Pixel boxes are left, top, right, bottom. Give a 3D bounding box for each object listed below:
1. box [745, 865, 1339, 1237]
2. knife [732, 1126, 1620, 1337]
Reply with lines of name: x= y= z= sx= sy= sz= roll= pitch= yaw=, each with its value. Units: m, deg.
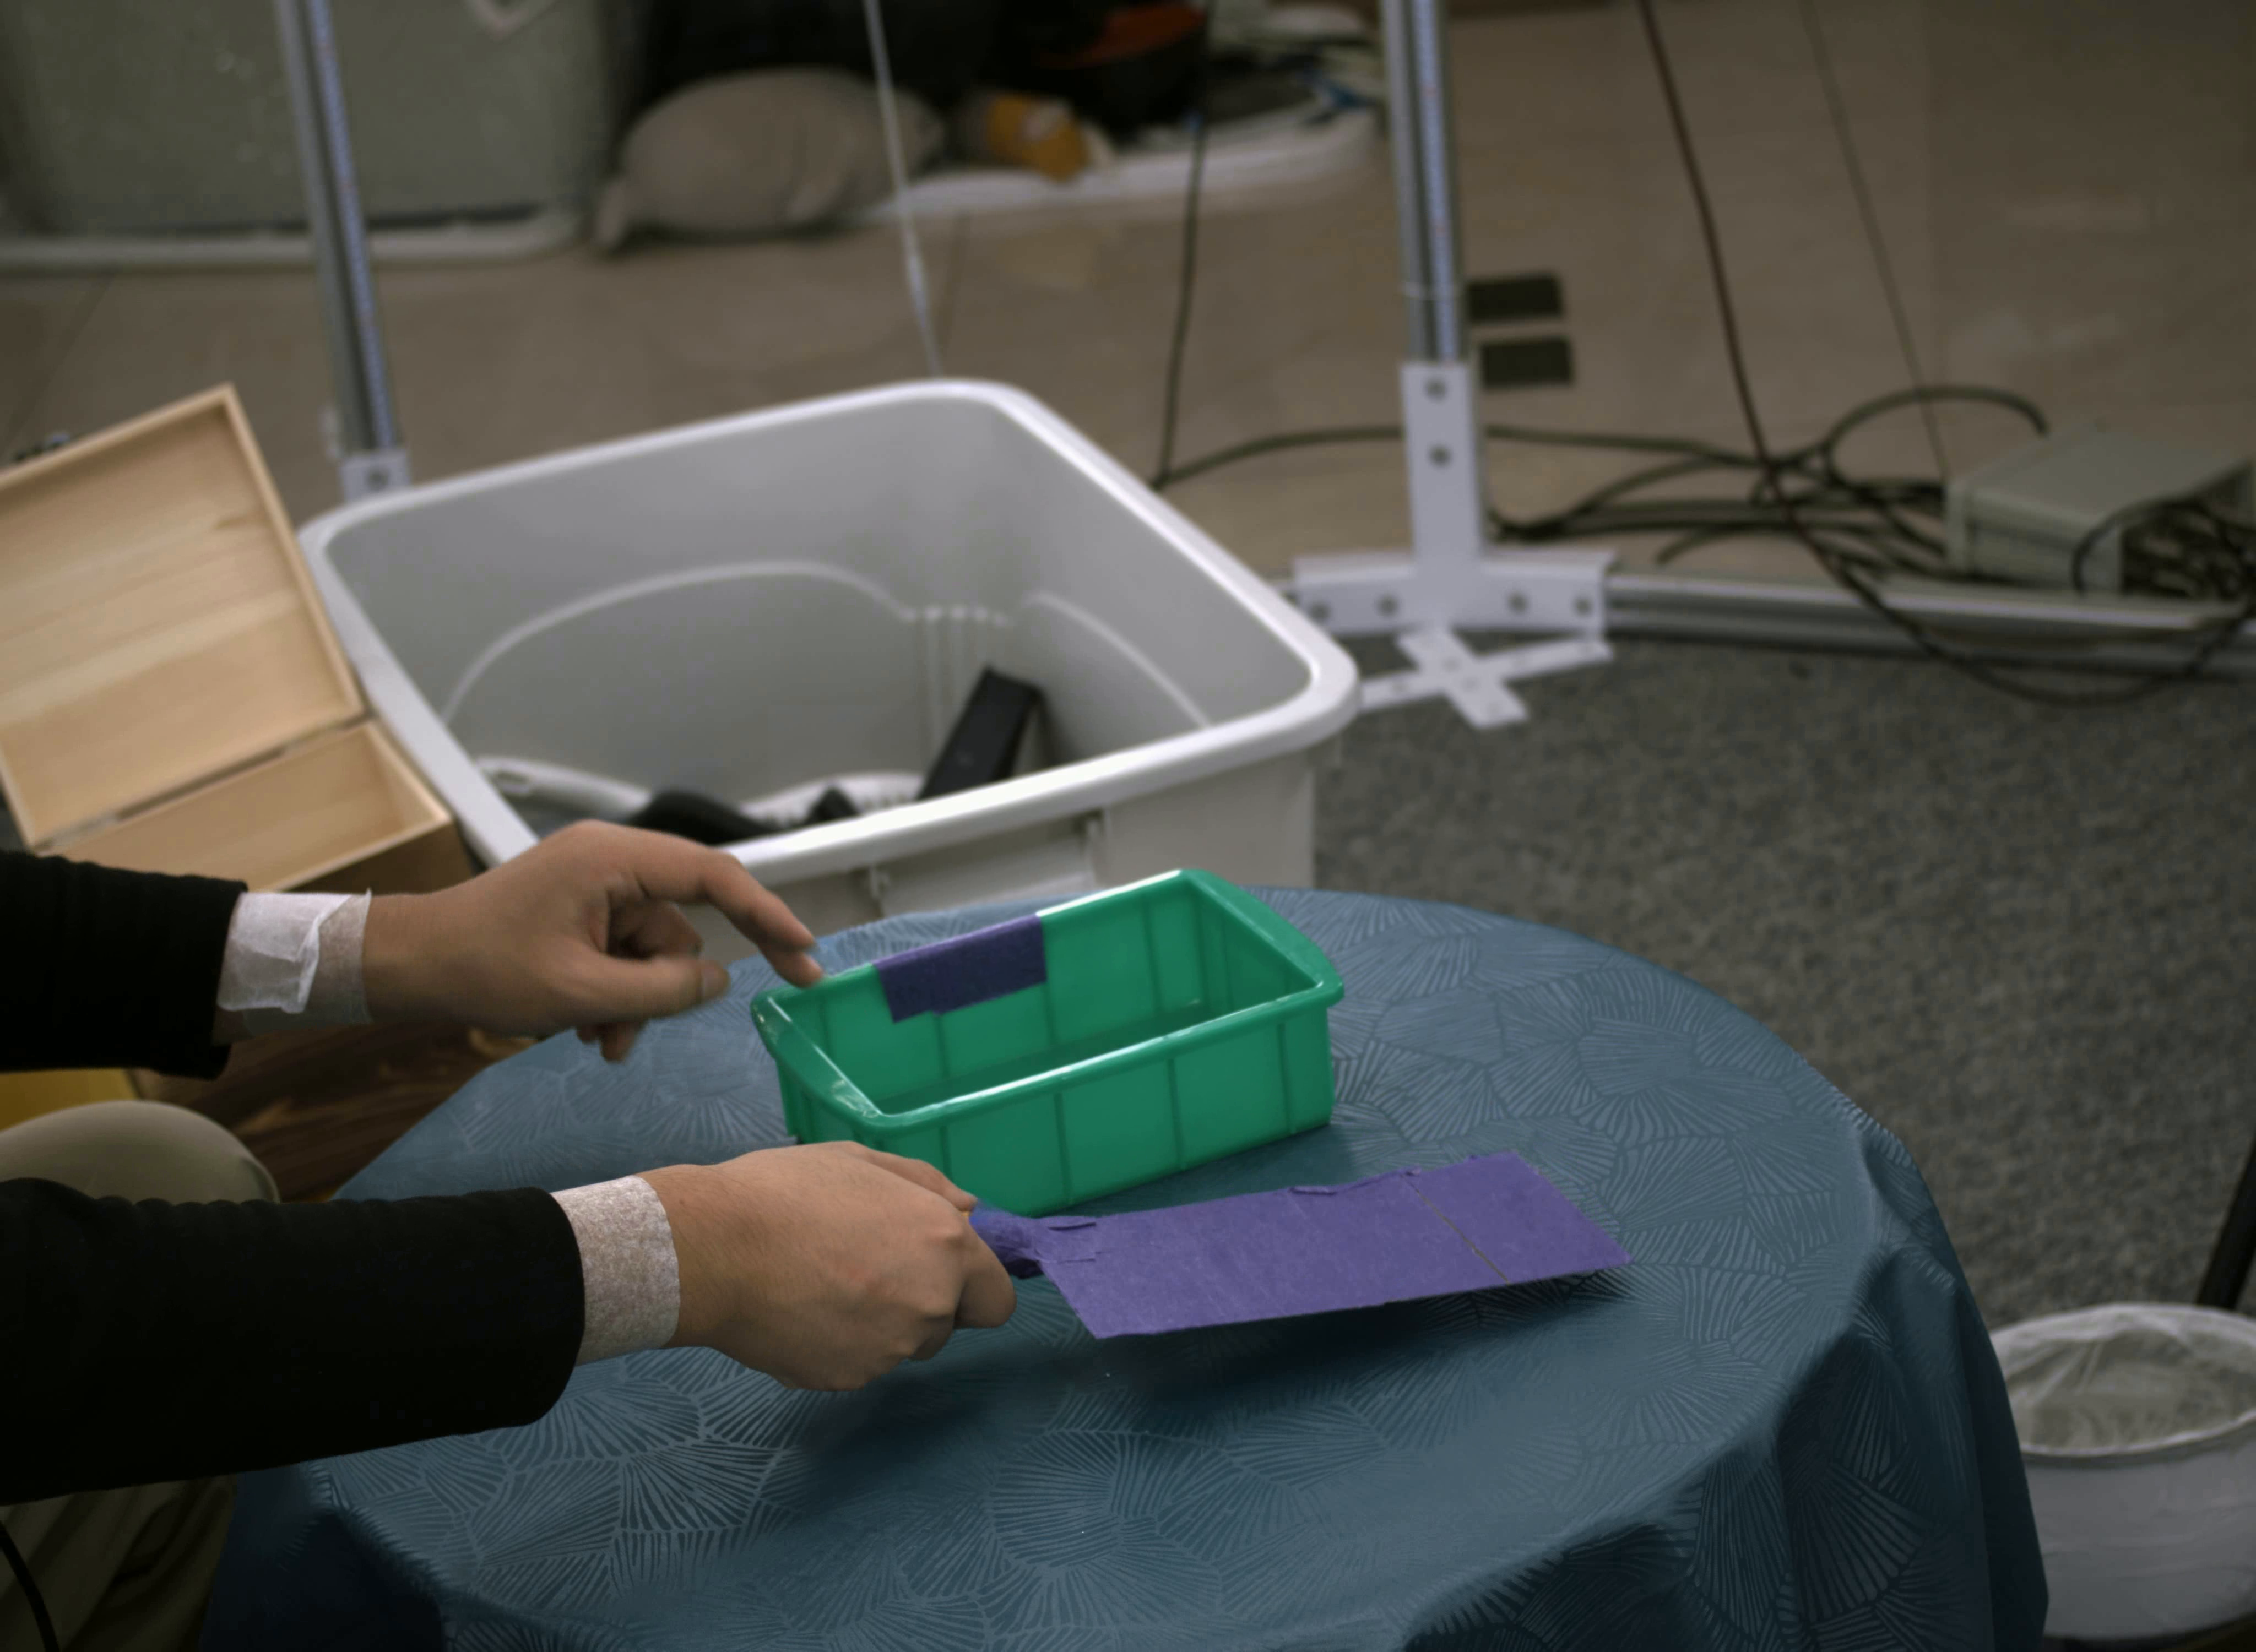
box: x=-0.031 y=0.091 z=2.184 sx=0.209 sy=0.066 sz=0.137 roll=-18 pitch=26 yaw=-20
knife: x=0.021 y=0.150 z=2.022 sx=0.314 sy=0.032 sz=0.102 roll=-9 pitch=24 yaw=-20
